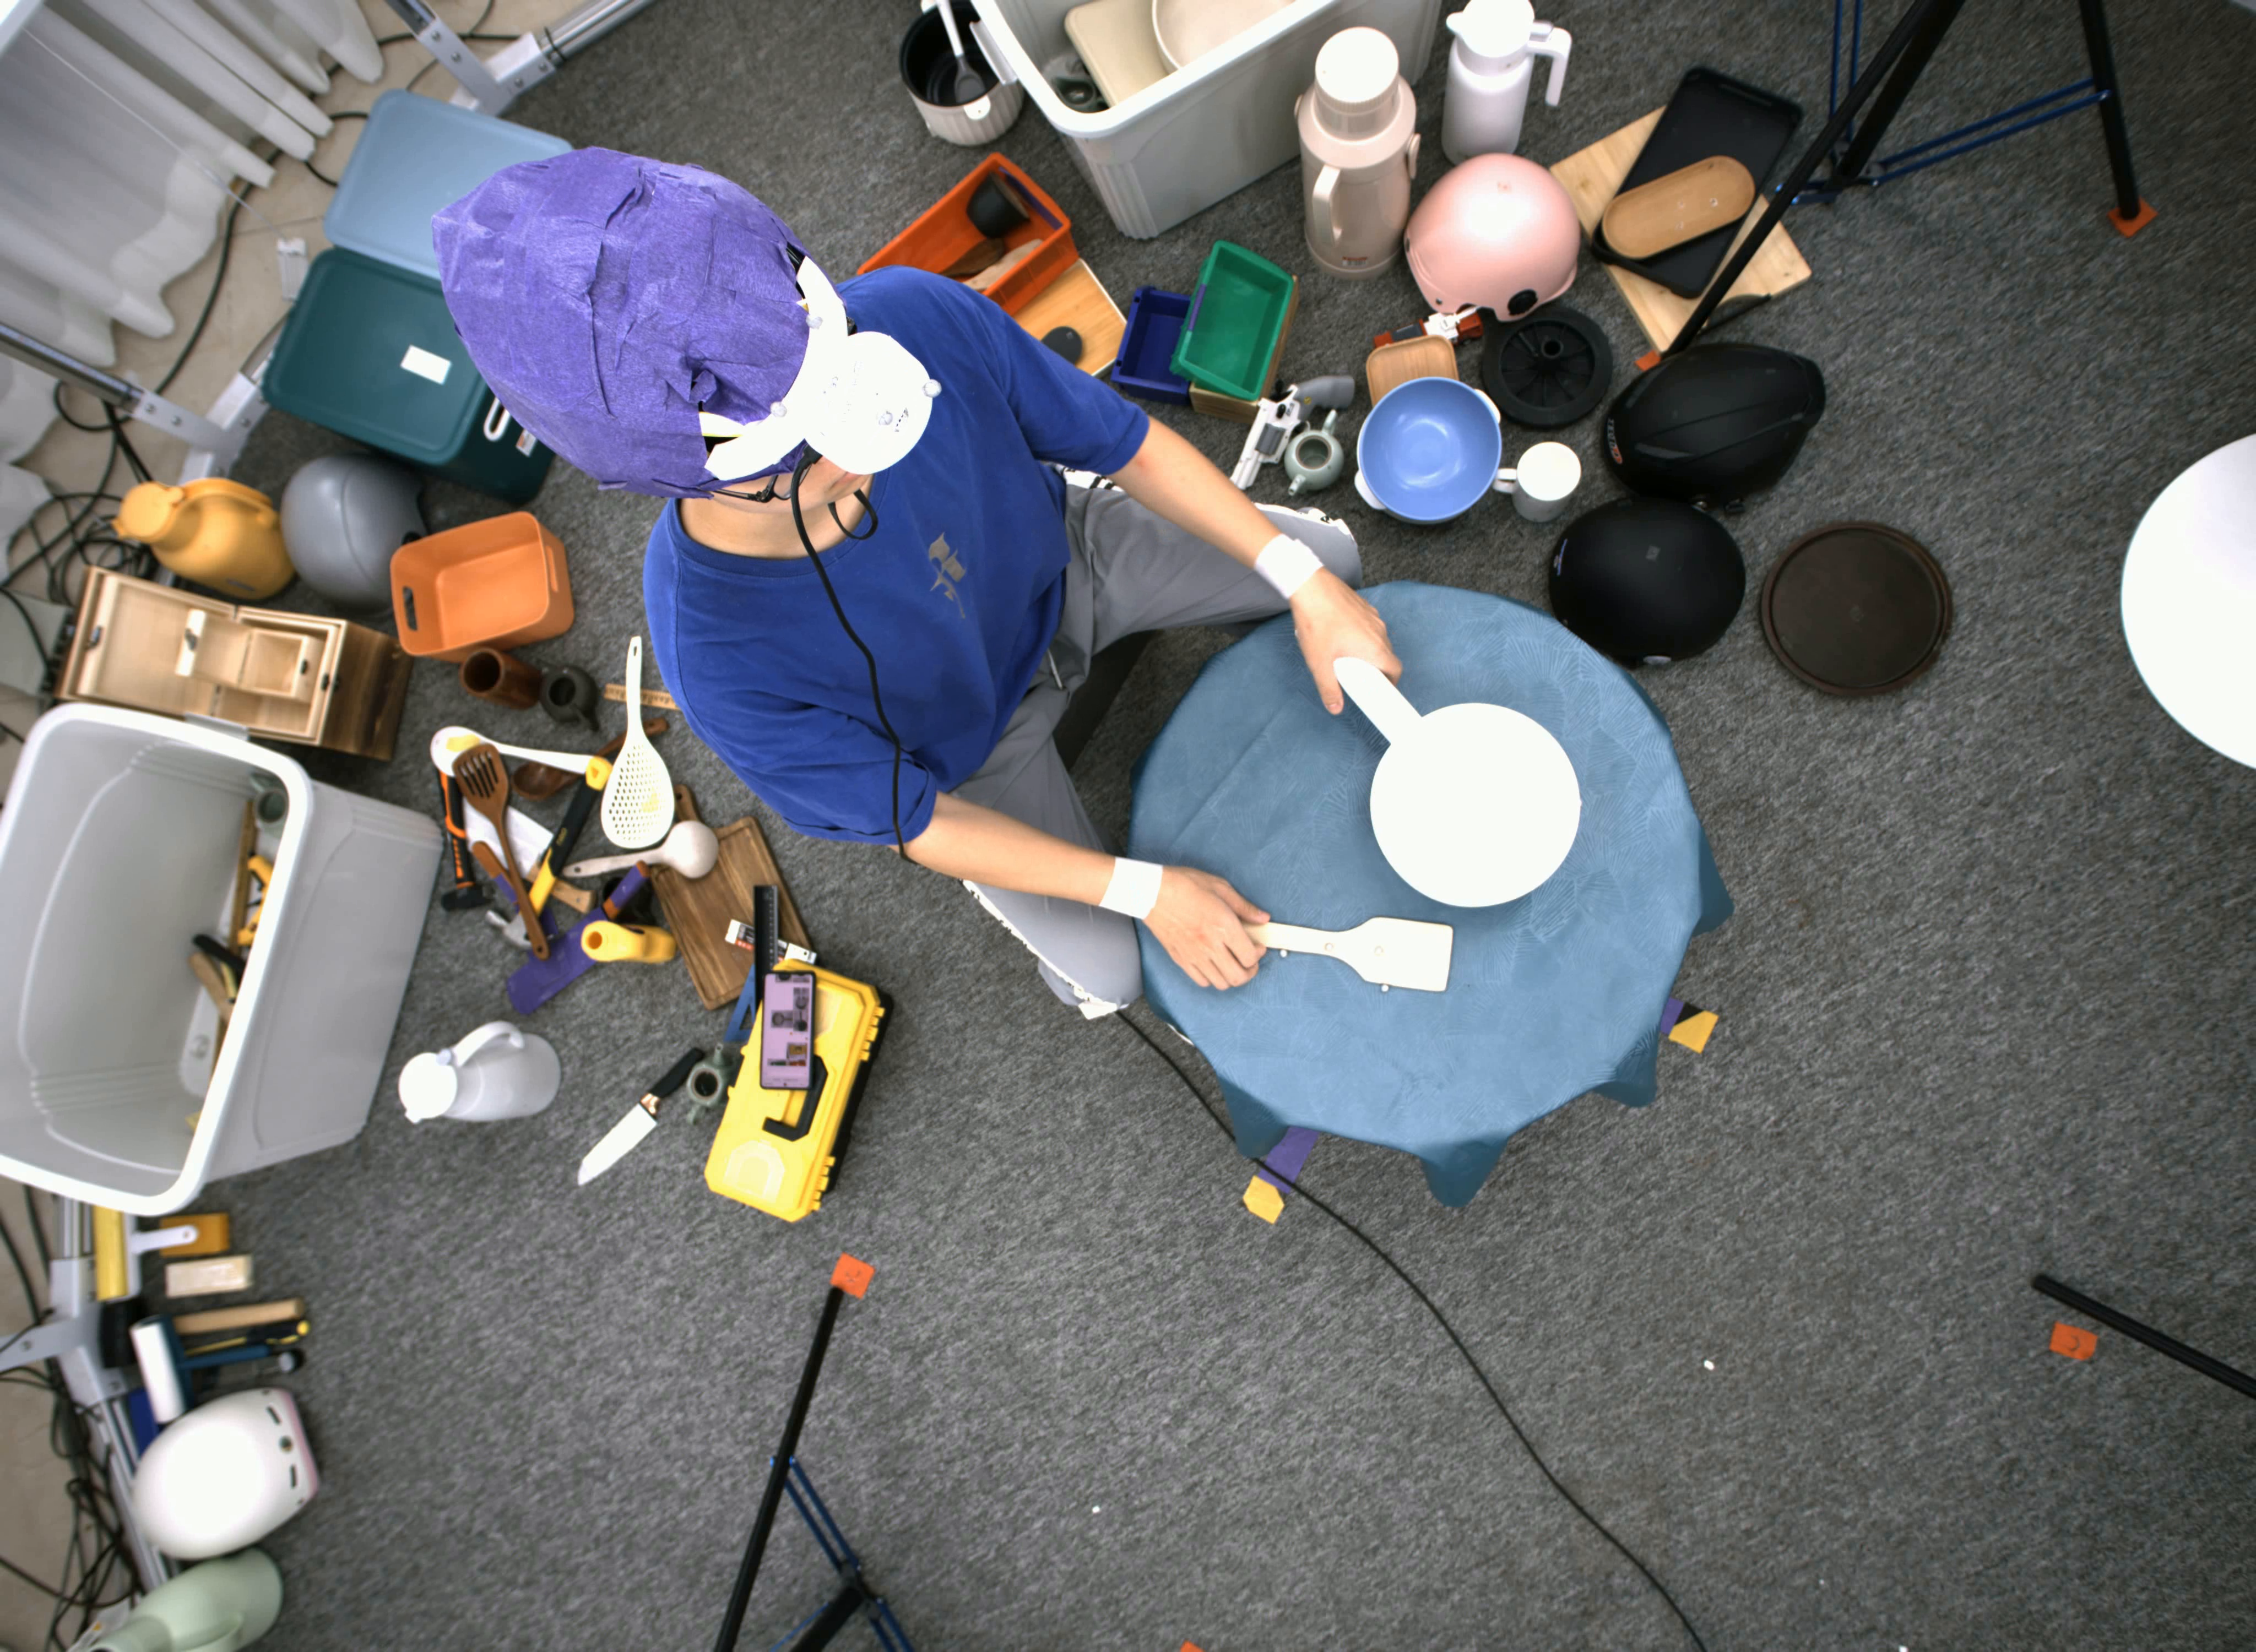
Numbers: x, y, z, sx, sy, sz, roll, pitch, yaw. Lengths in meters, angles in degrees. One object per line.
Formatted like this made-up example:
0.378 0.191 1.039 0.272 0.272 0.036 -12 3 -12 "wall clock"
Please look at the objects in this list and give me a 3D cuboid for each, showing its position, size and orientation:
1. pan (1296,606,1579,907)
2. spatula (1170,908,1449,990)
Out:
0.302 -0.076 1.411 0.202 0.102 0.353 -41 80 8 "pan"
0.189 0.119 1.465 0.294 0.010 0.072 7 89 10 "spatula"
